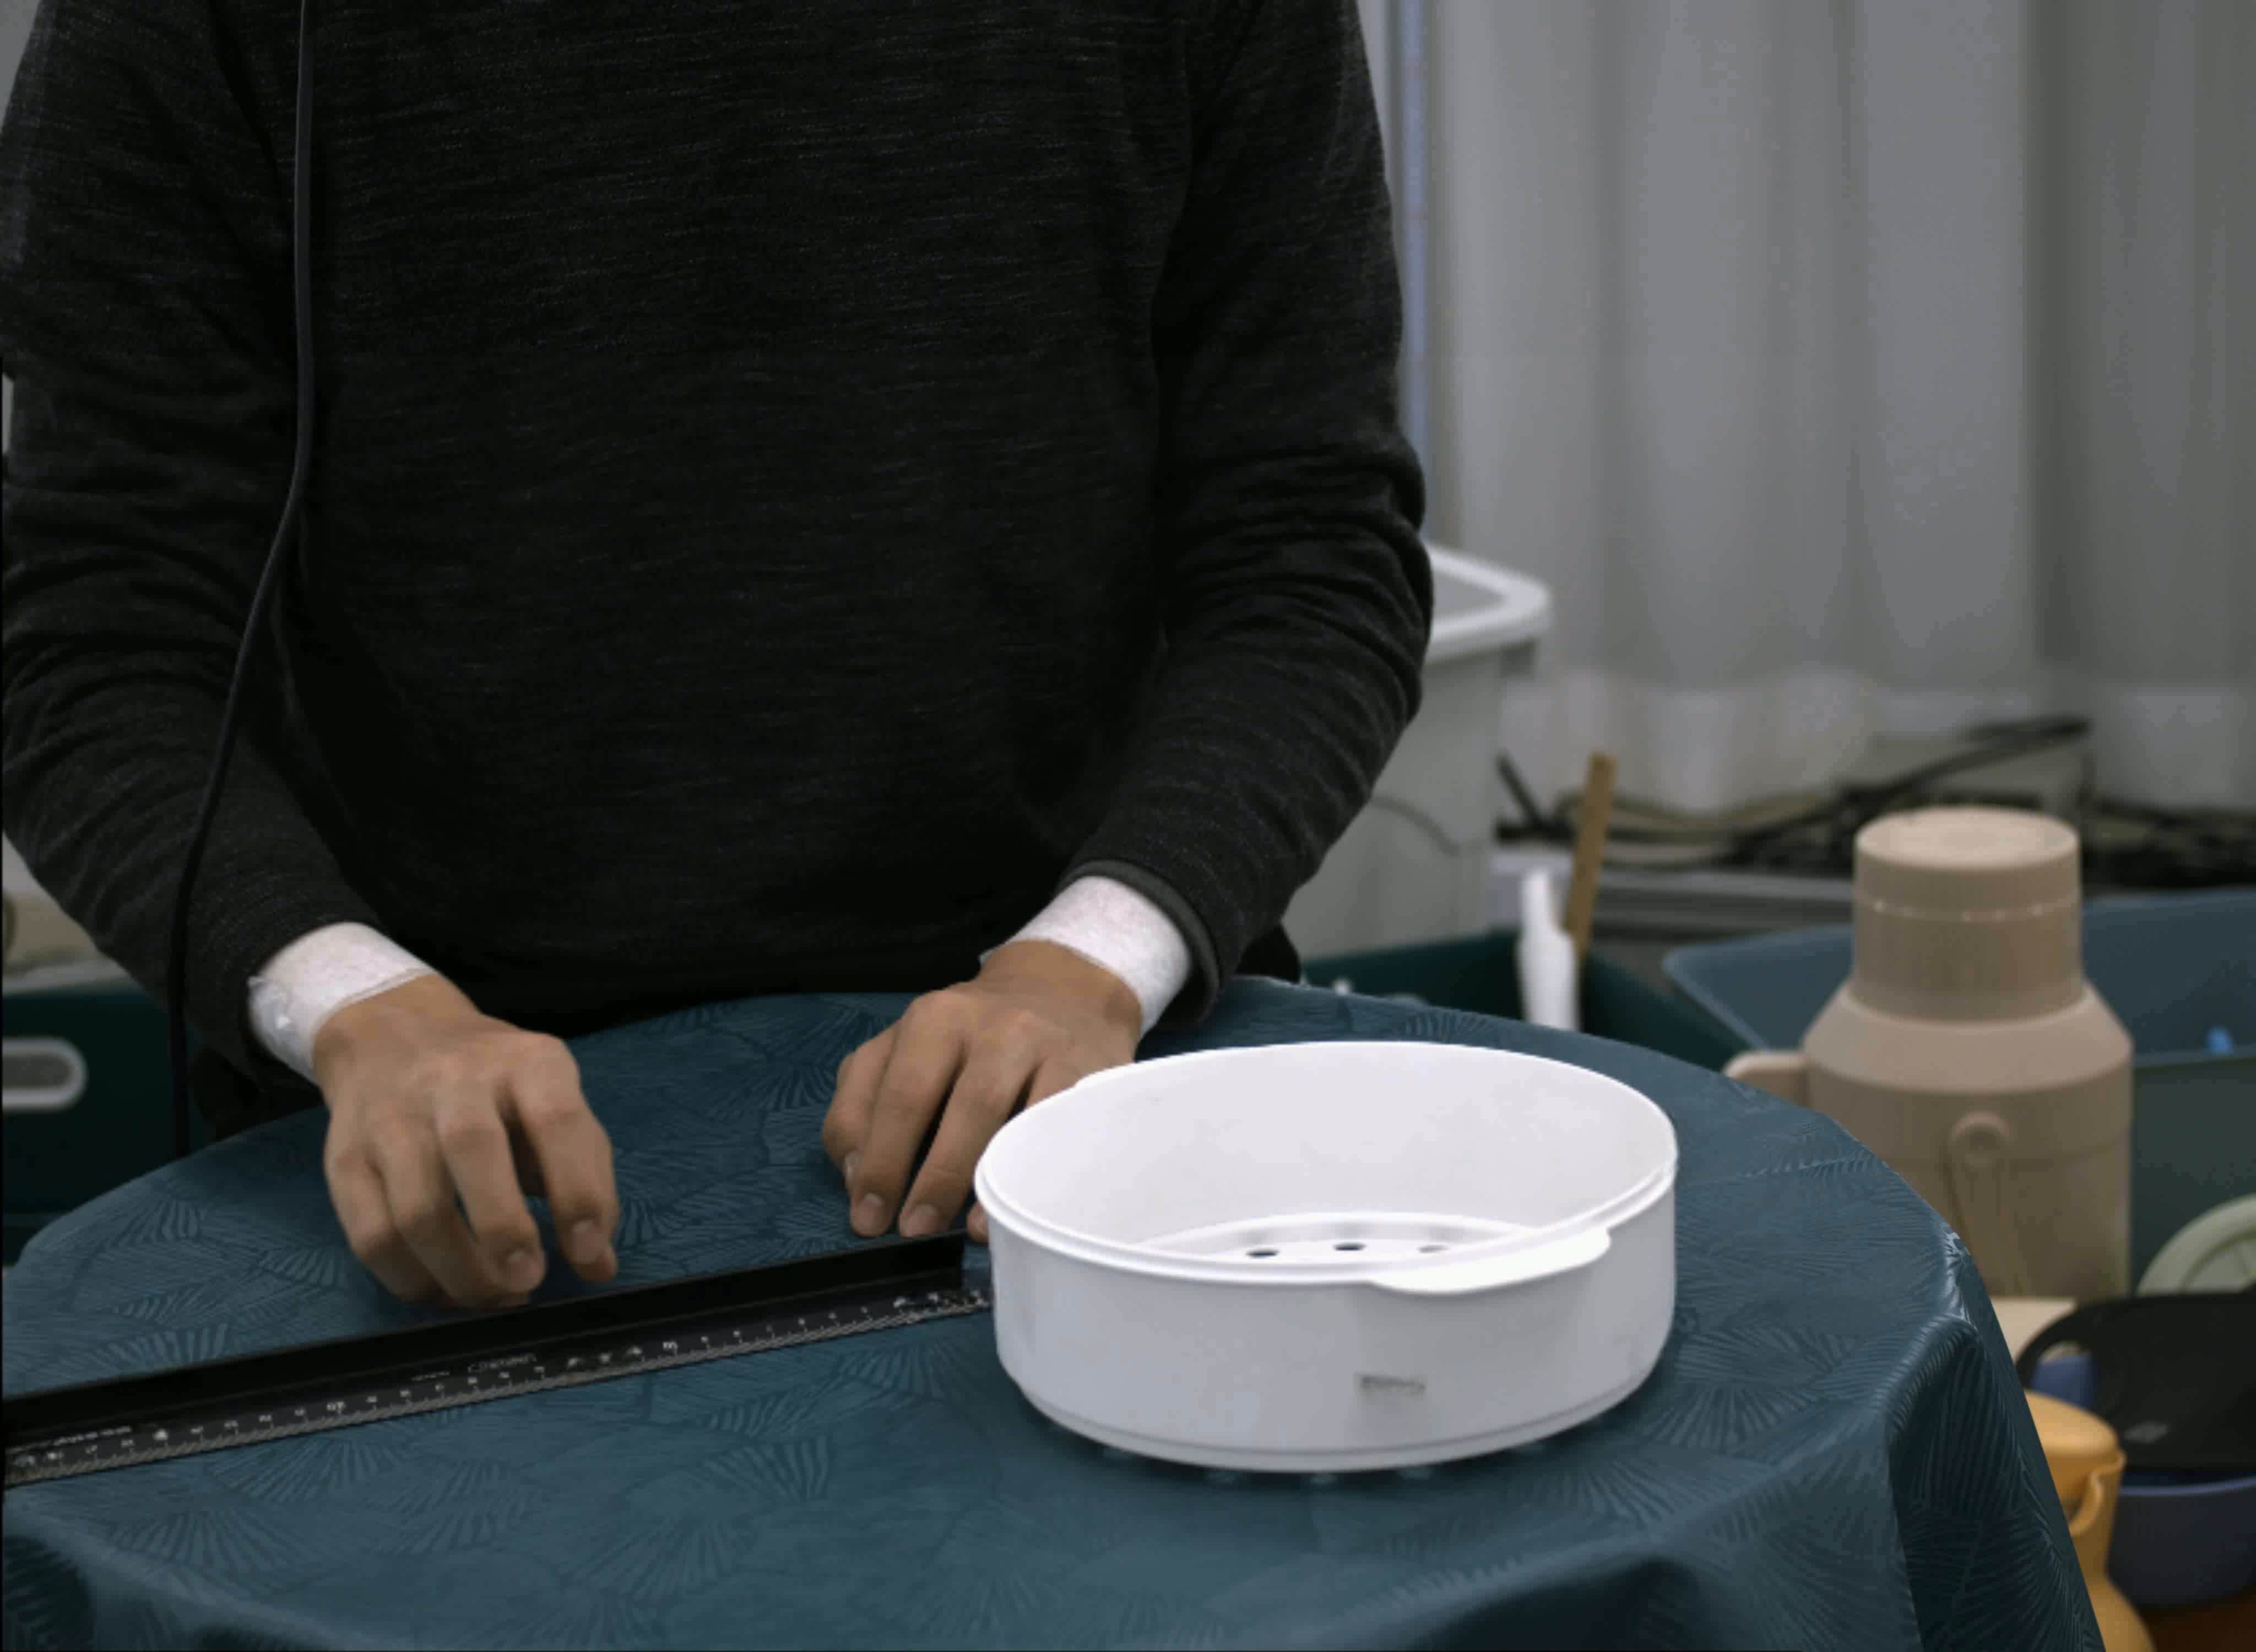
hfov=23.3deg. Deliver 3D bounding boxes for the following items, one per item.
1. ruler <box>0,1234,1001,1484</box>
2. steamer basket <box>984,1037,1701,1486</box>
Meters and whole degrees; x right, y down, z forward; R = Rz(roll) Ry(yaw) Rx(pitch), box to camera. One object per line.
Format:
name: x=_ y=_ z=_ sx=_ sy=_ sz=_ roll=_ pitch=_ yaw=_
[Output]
ruler: x=-0.187 y=0.153 z=1.575 sx=0.311 sy=0.017 sz=0.039 roll=-8 pitch=19 yaw=-20
steamer basket: x=0.061 y=0.122 z=1.541 sx=0.201 sy=0.069 sz=0.232 roll=-9 pitch=18 yaw=-24
